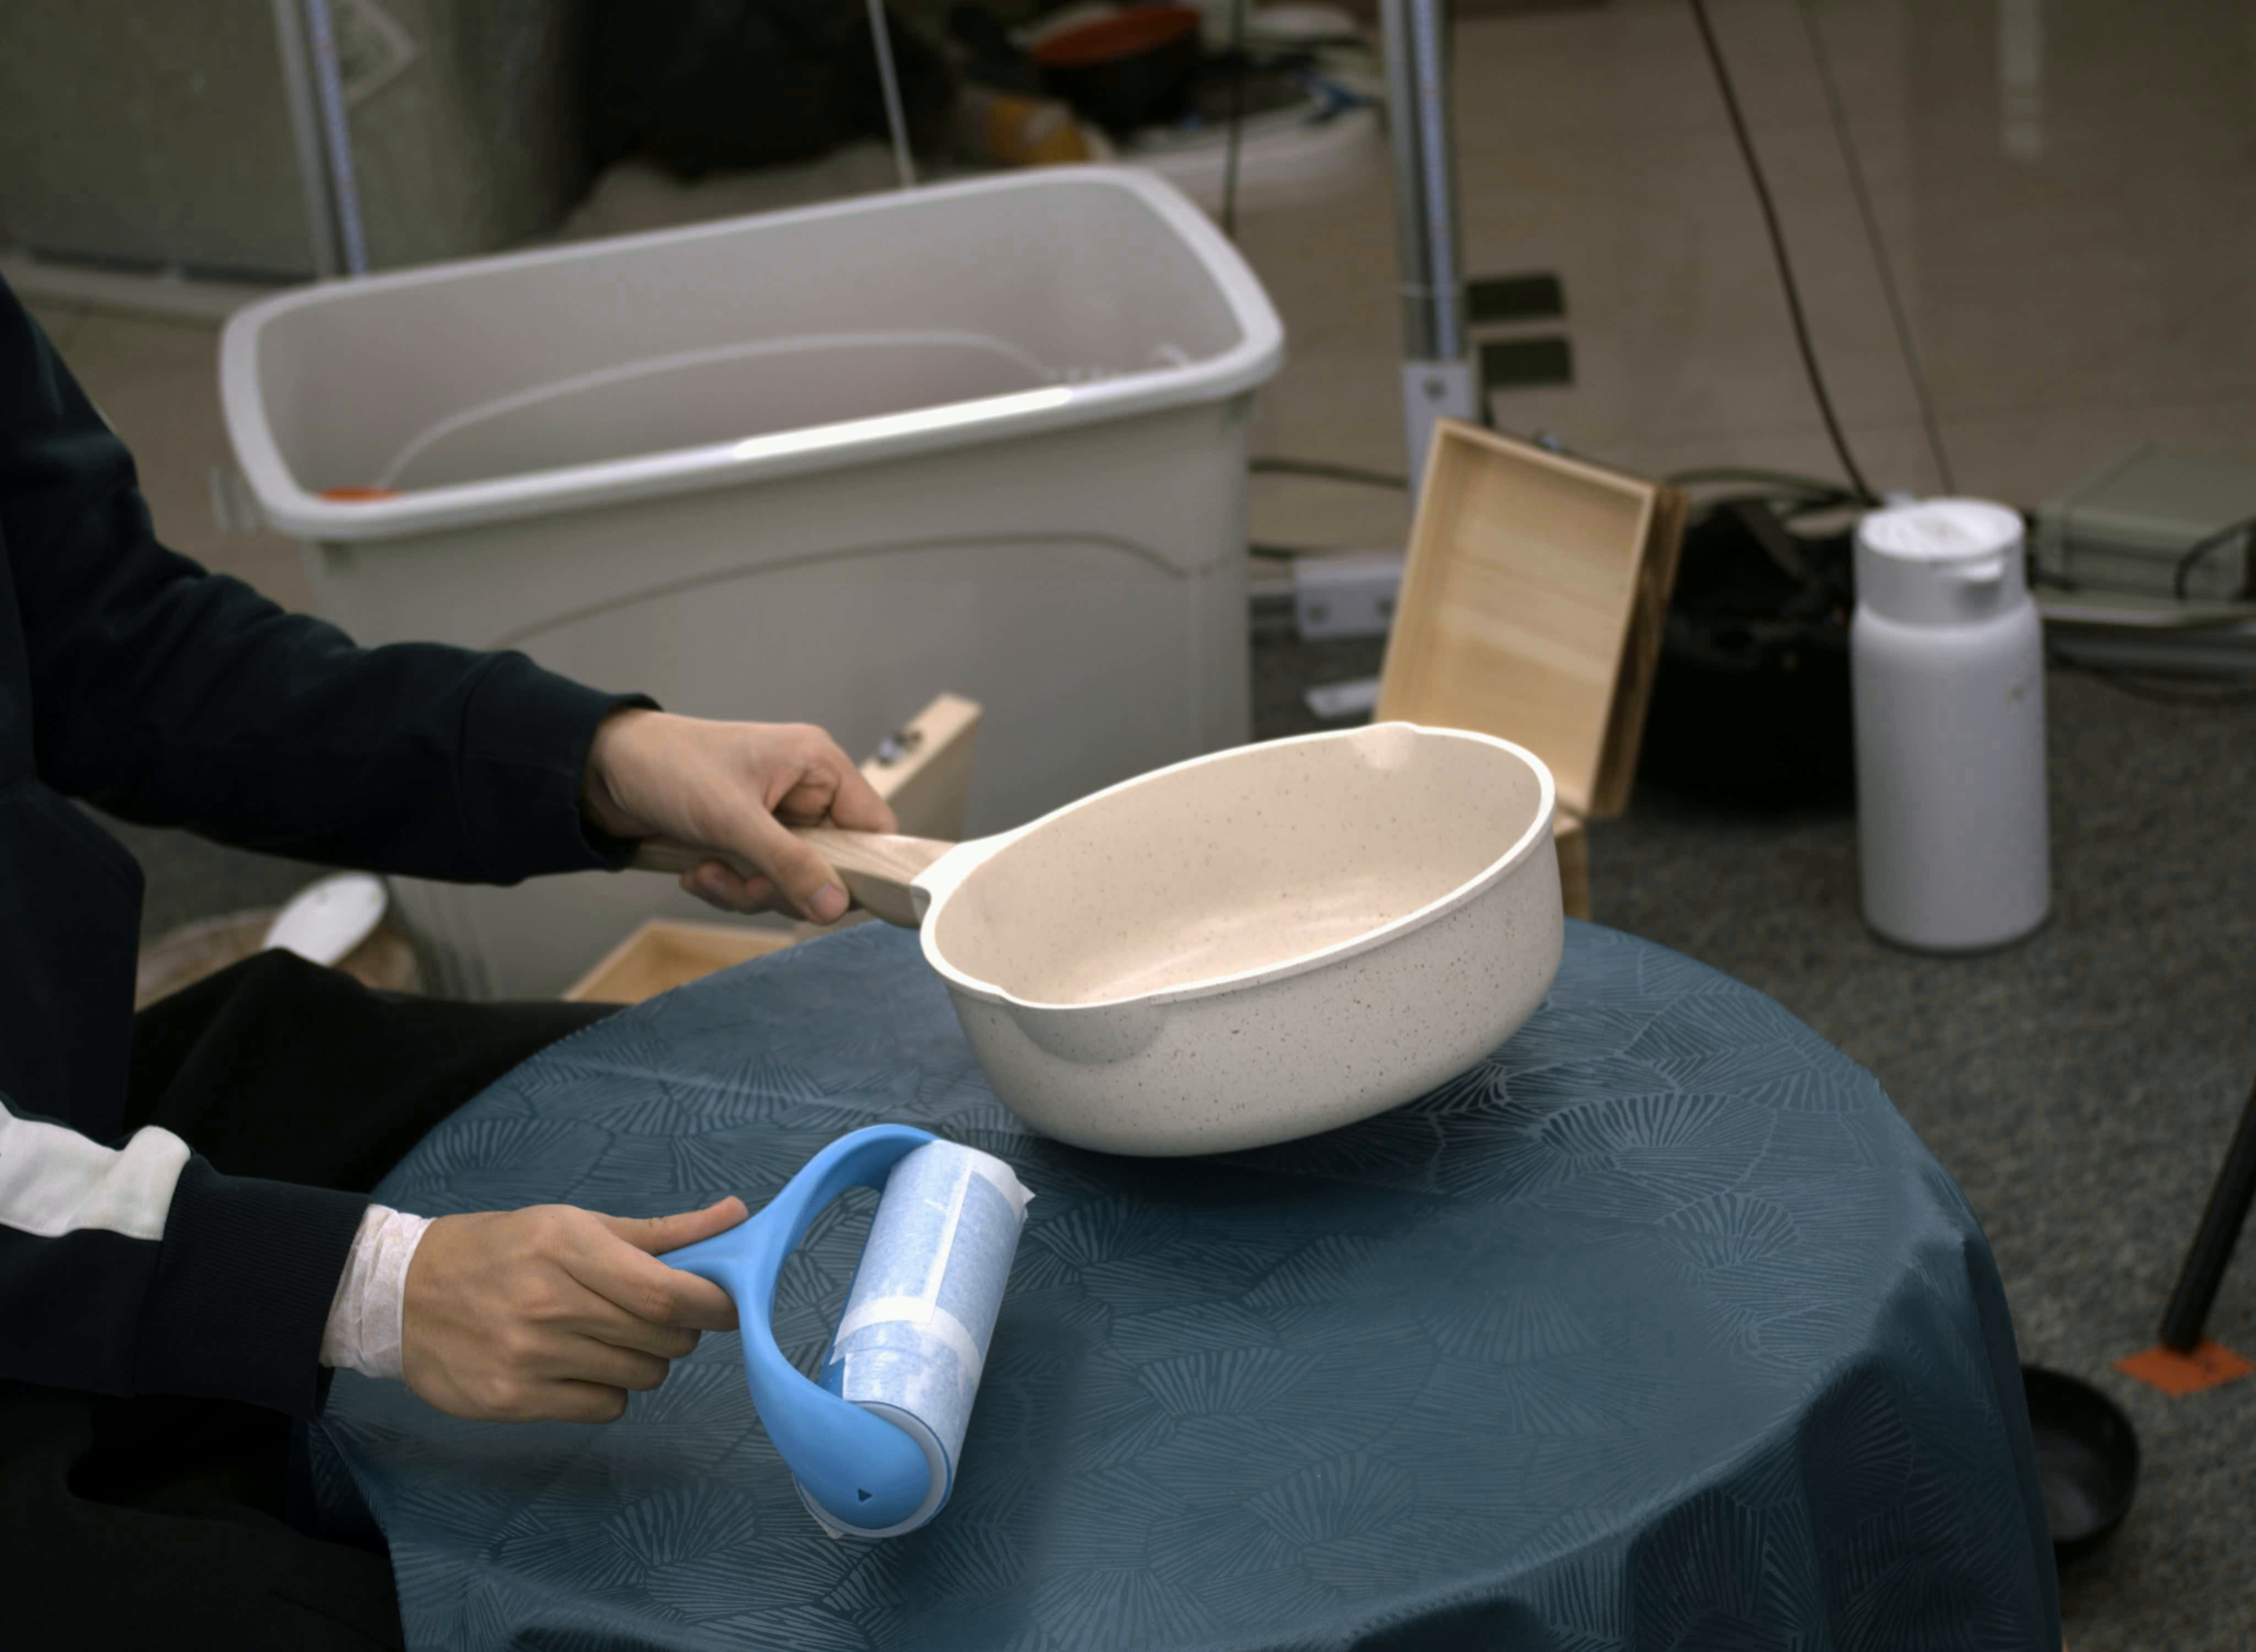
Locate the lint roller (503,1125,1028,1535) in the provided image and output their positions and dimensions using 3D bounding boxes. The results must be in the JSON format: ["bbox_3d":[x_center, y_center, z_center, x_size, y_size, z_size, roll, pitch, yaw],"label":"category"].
[{"bbox_3d":[-0.132,0.175,1.973,0.180,0.069,0.225,-1,25,4],"label":"lint roller"}]

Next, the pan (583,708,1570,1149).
[{"bbox_3d":[-0.026,0.040,2.230,0.434,0.103,0.260,-2,25,33],"label":"pan"}]
